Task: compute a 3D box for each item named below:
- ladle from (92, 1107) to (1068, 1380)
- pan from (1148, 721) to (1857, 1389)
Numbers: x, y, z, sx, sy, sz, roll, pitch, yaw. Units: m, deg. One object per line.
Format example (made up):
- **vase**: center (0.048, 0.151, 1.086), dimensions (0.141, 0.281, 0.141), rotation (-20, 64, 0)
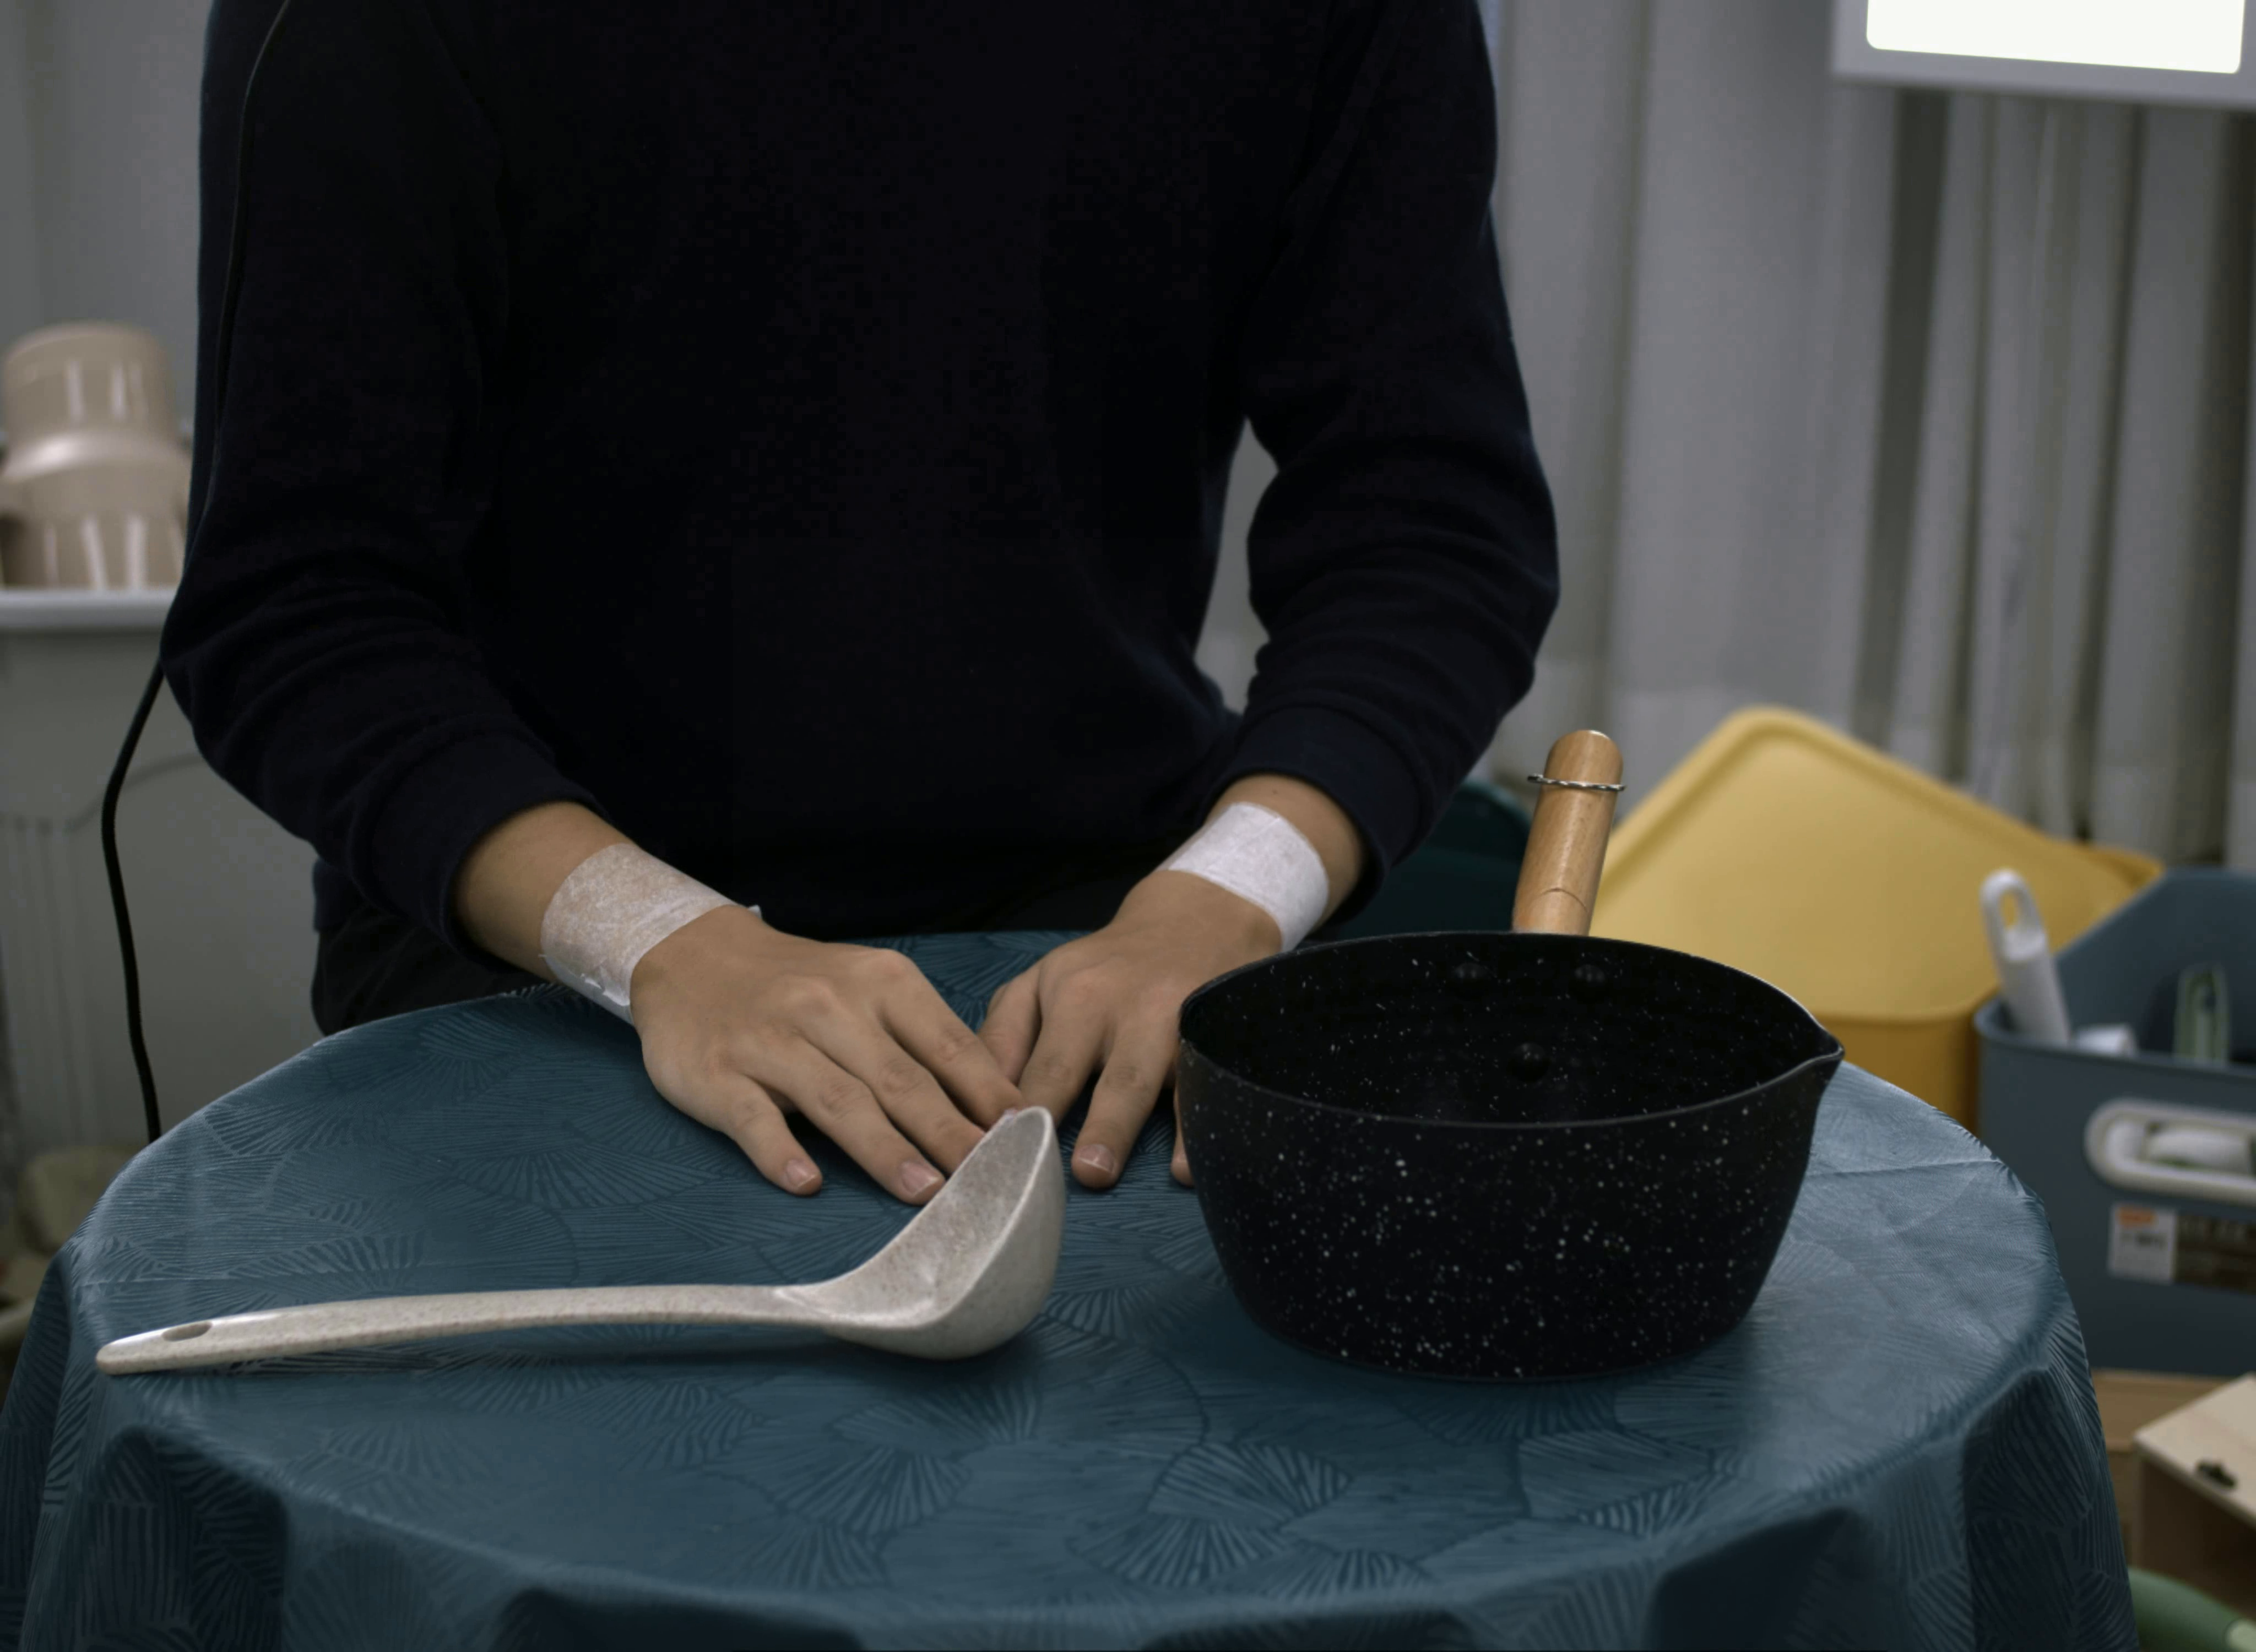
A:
- **ladle**: center (-0.154, 0.117, 1.475), dimensions (0.274, 0.070, 0.088), rotation (-1, 22, -5)
- **pan**: center (0.119, 0.064, 1.598), dimensions (0.206, 0.109, 0.342), rotation (2, 17, 9)
